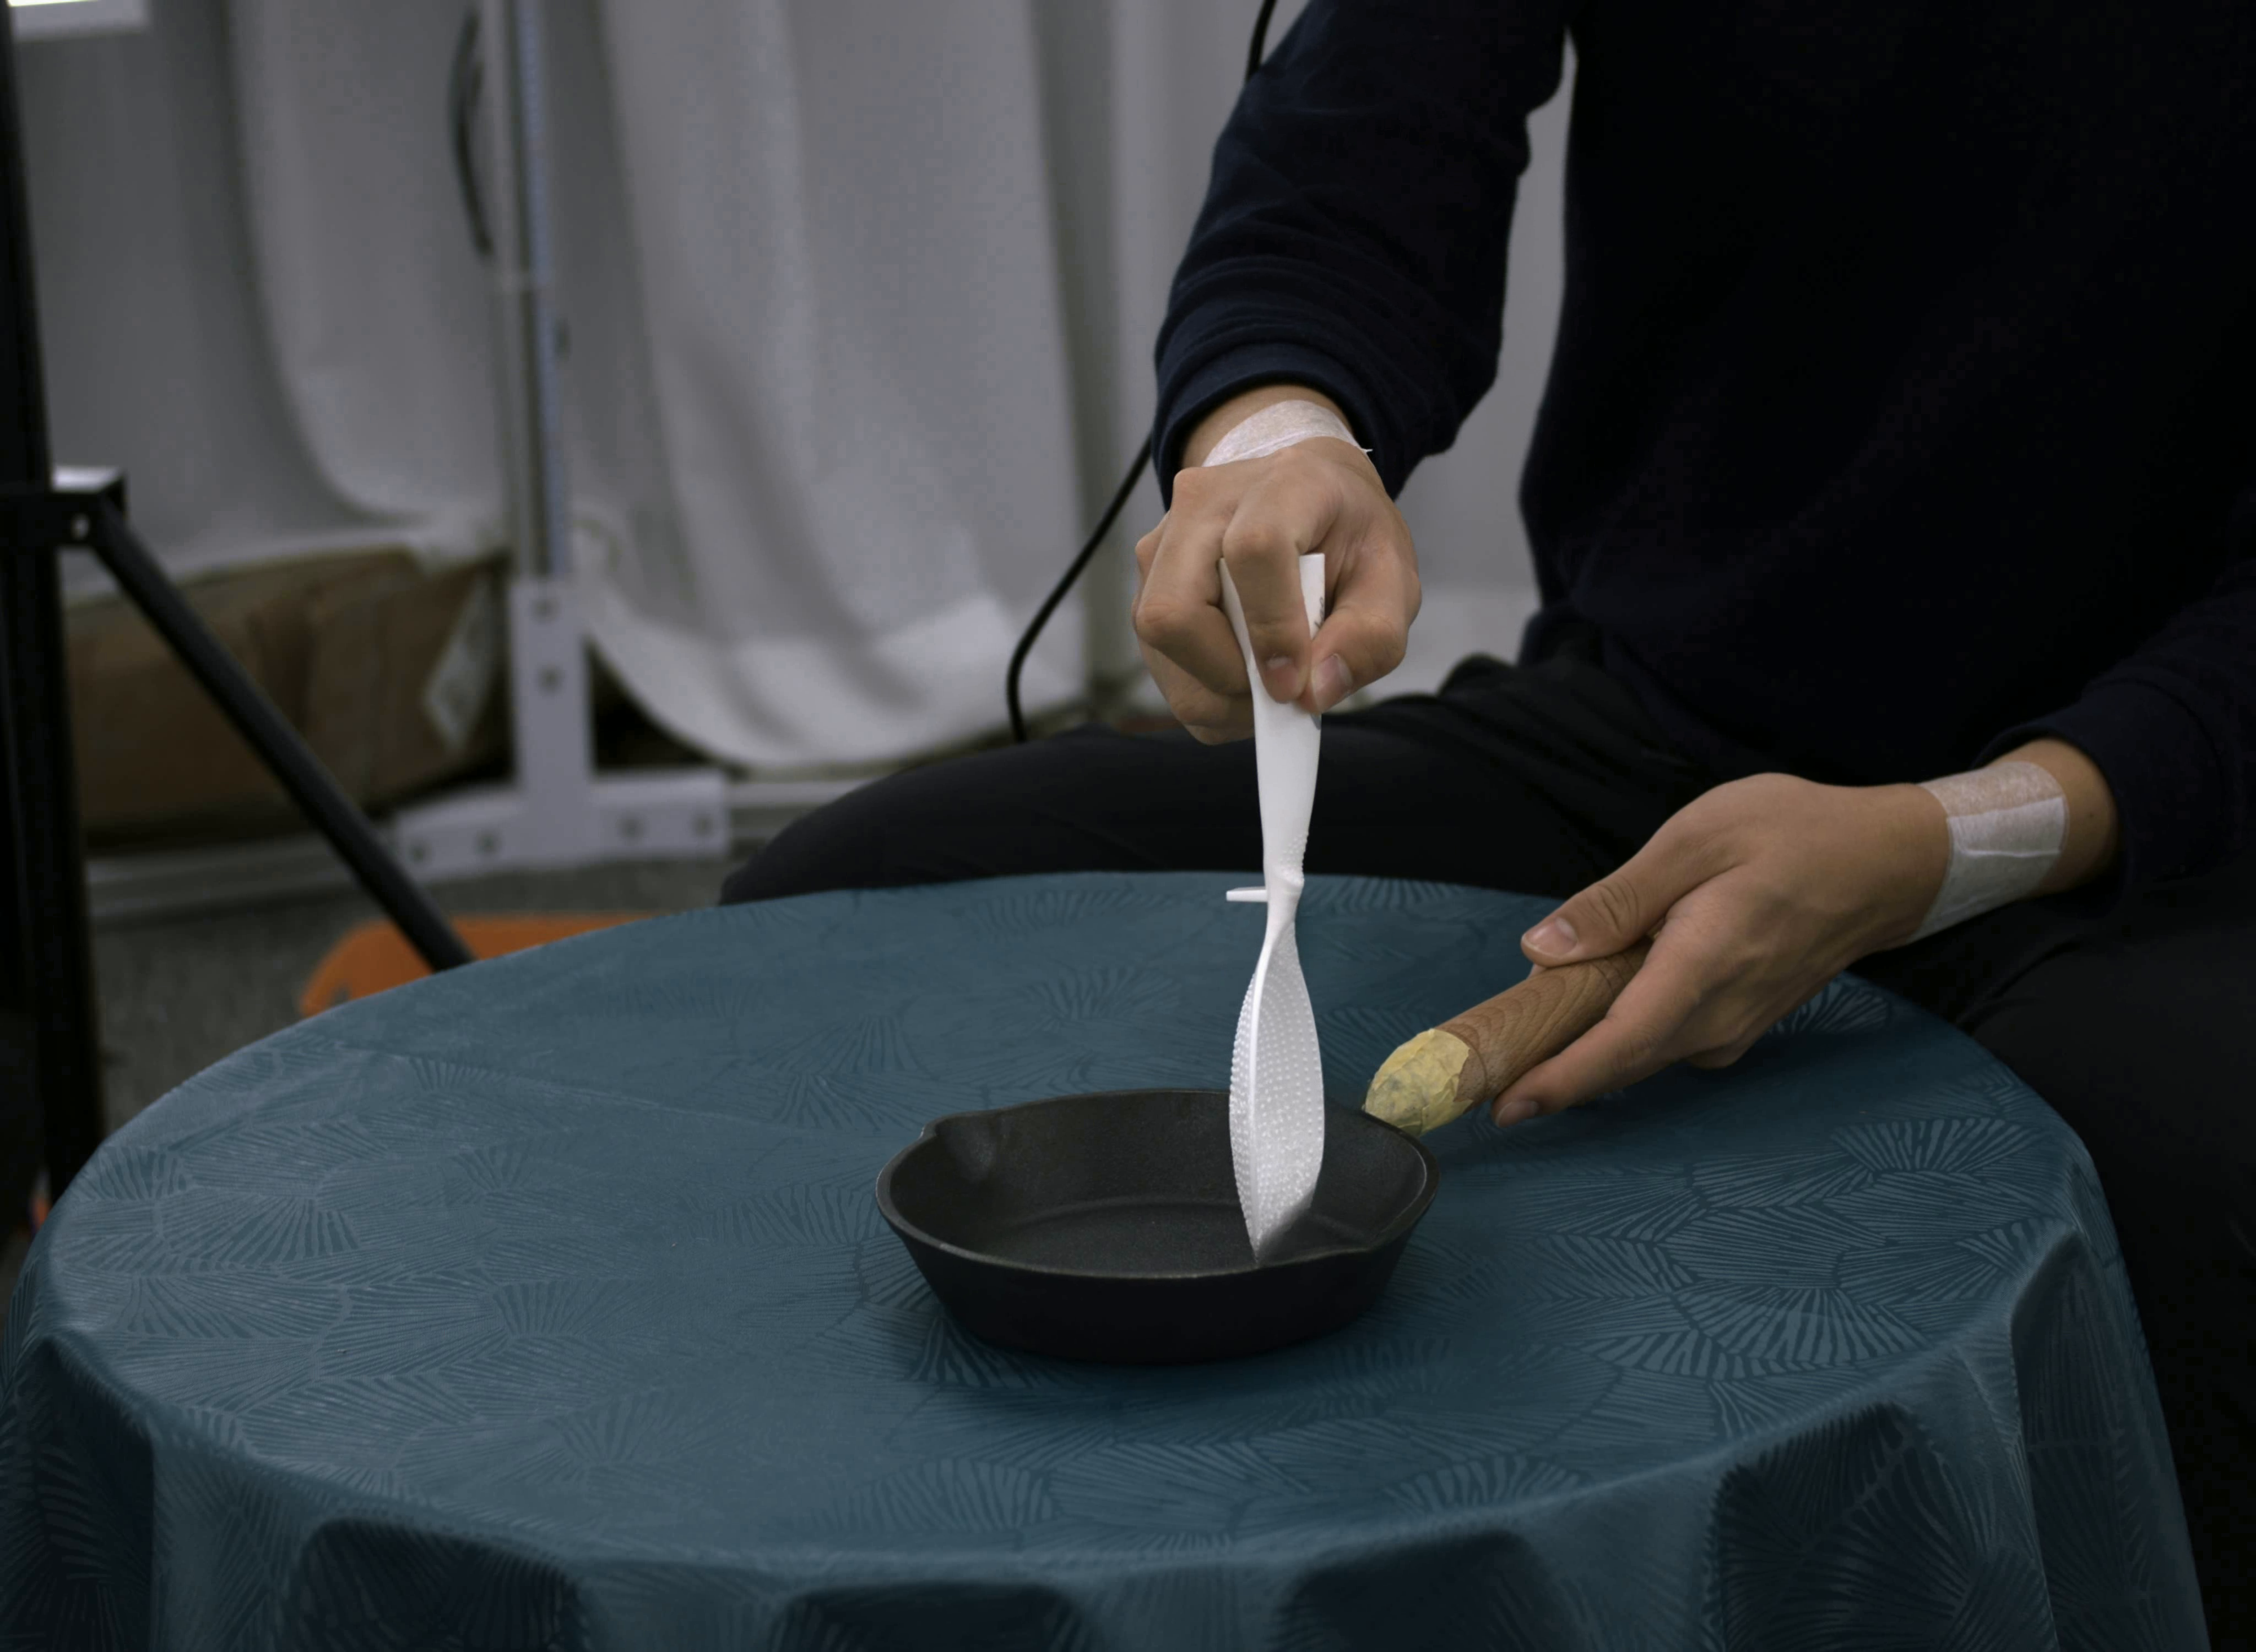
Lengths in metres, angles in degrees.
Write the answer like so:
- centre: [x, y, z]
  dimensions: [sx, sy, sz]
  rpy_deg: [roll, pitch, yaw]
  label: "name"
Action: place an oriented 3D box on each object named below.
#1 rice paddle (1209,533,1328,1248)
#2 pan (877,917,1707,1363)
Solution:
- centre: [0.043, 0.023, 1.462]
  dimensions: [0.030, 0.206, 0.068]
  rpy_deg: [-1, 5, 20]
  label: "rice paddle"
- centre: [0.067, 0.087, 1.530]
  dimensions: [0.317, 0.049, 0.173]
  rpy_deg: [-19, 22, -42]
  label: "pan"
